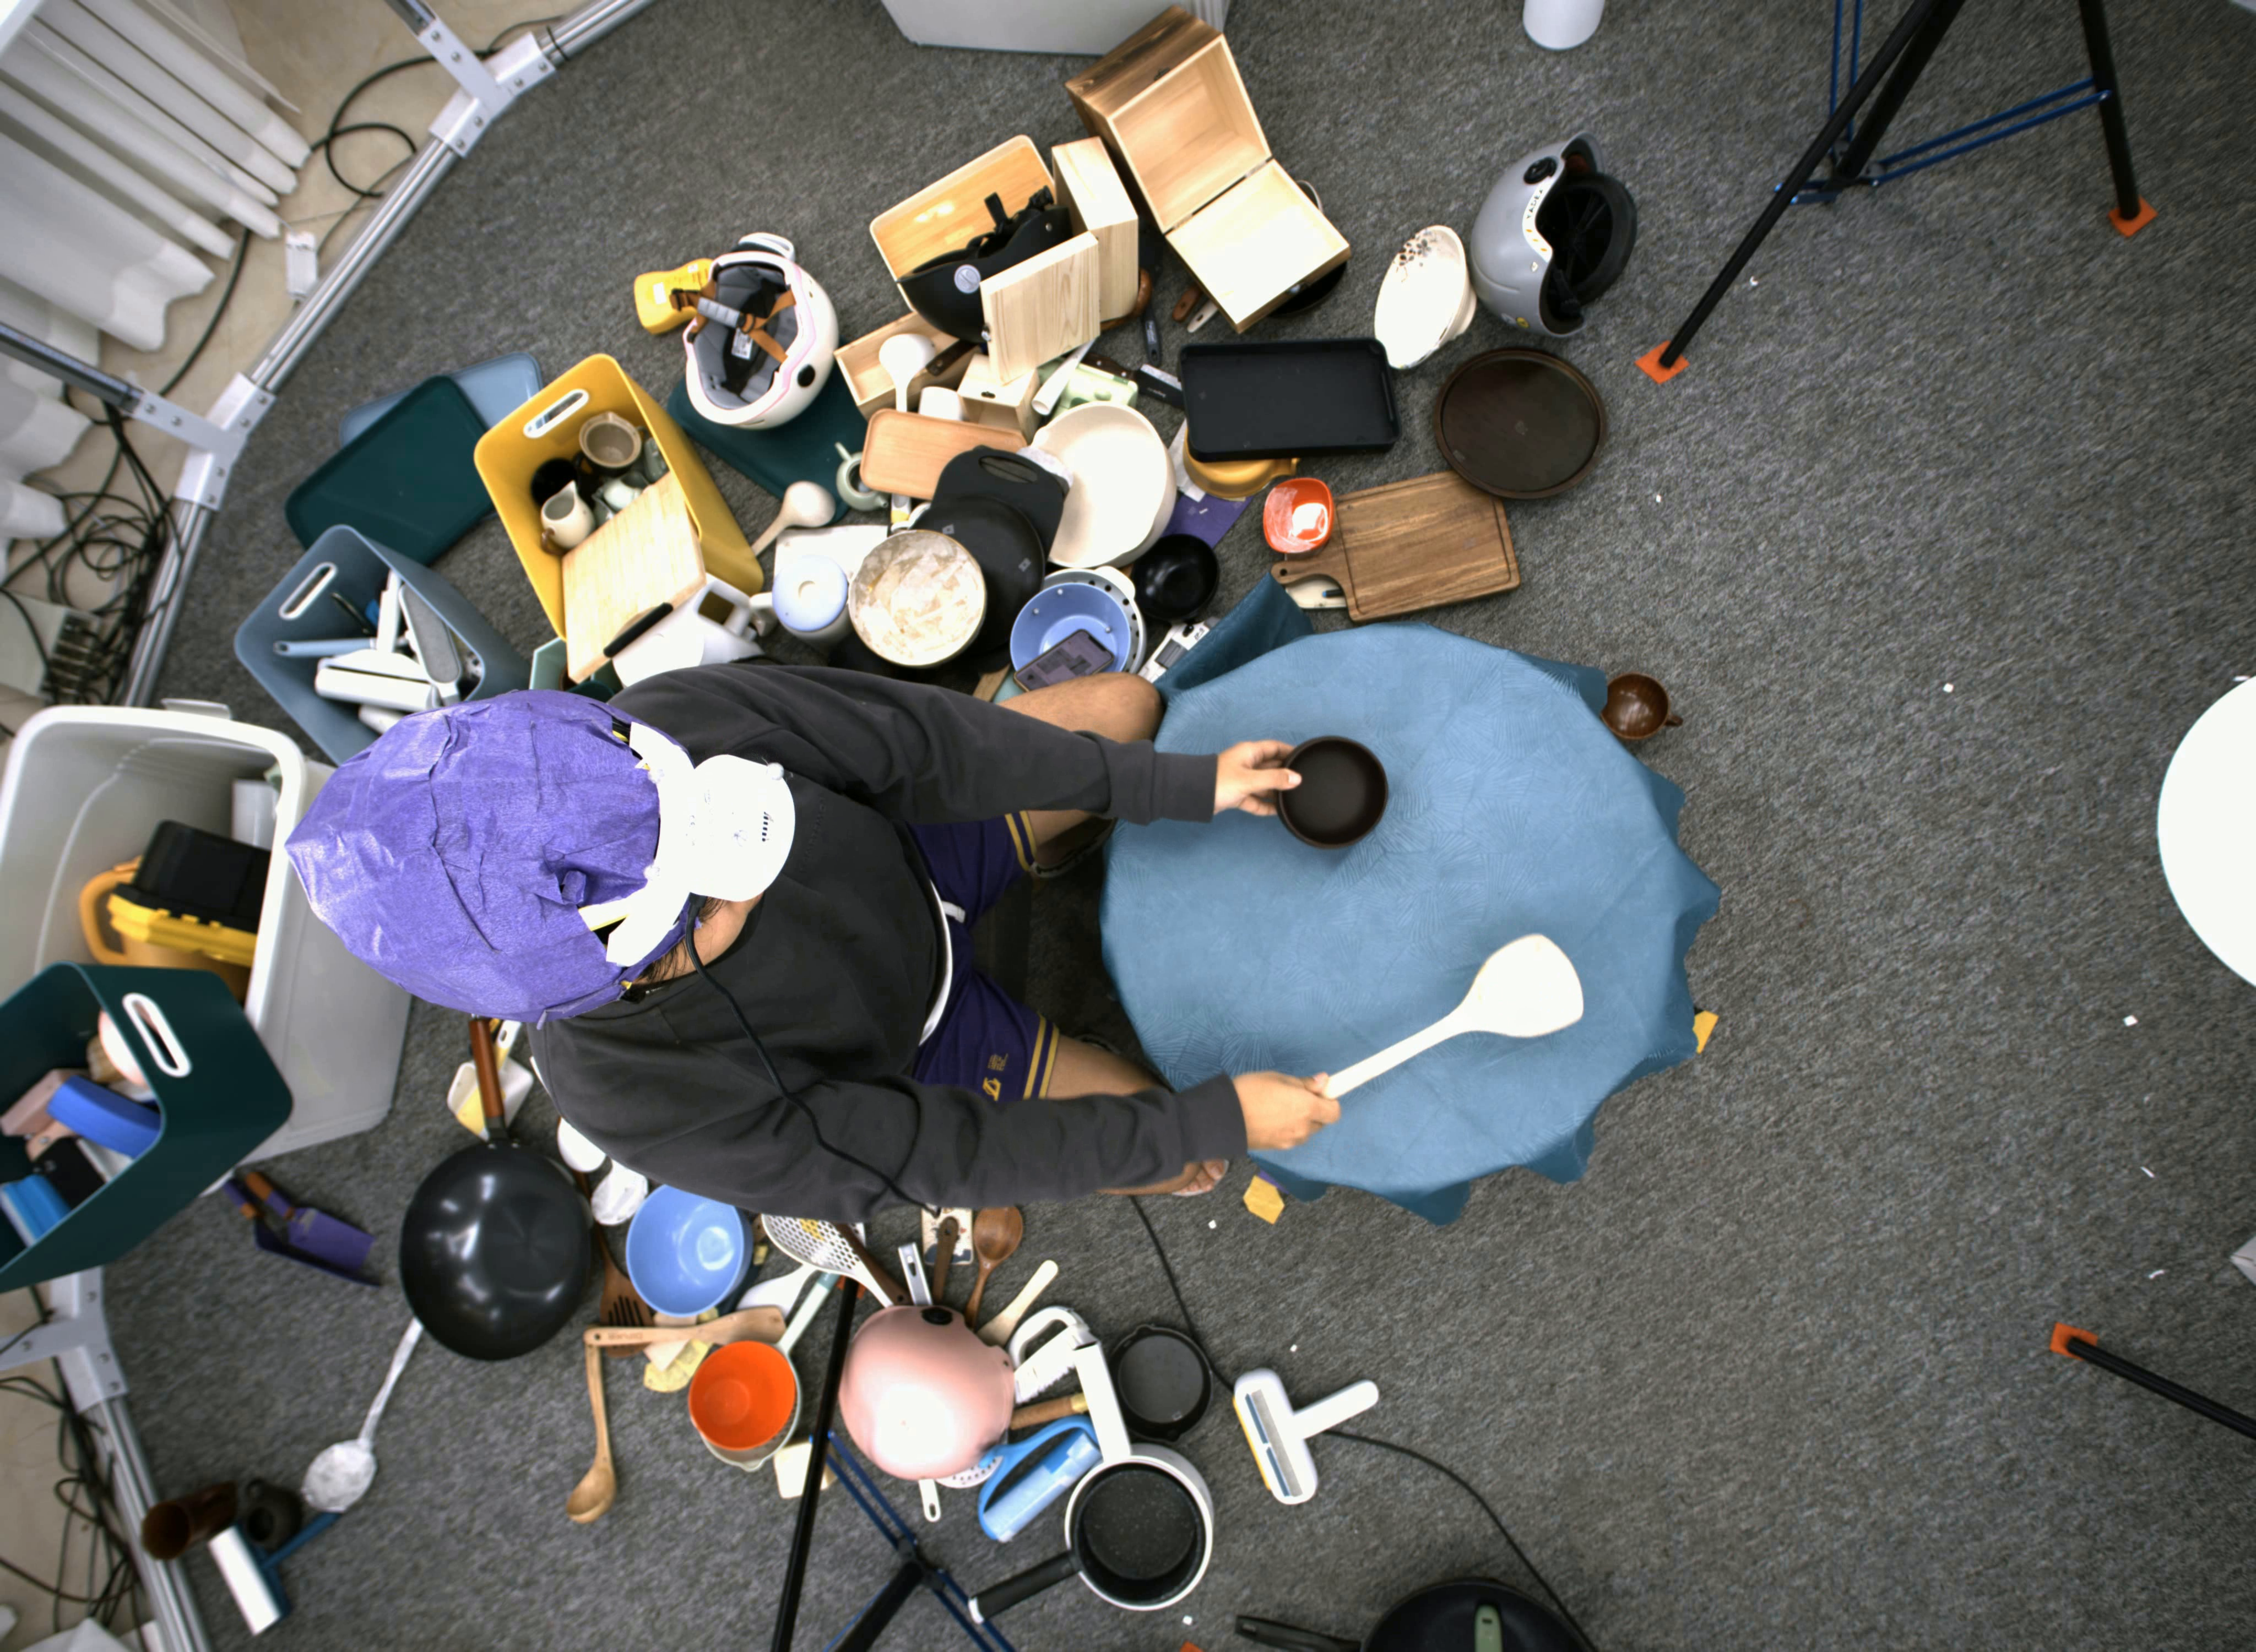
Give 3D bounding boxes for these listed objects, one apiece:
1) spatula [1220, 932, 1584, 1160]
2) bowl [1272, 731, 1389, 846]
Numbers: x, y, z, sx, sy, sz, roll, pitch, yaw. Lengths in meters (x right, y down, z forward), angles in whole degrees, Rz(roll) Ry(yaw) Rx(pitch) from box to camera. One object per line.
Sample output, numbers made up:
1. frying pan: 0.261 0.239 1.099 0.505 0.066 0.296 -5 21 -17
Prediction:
1. spatula: 0.262 0.230 1.356 0.393 0.018 0.095 -31 89 8
2. bowl: 0.206 -0.040 1.430 0.118 0.069 0.118 0 94 -2
